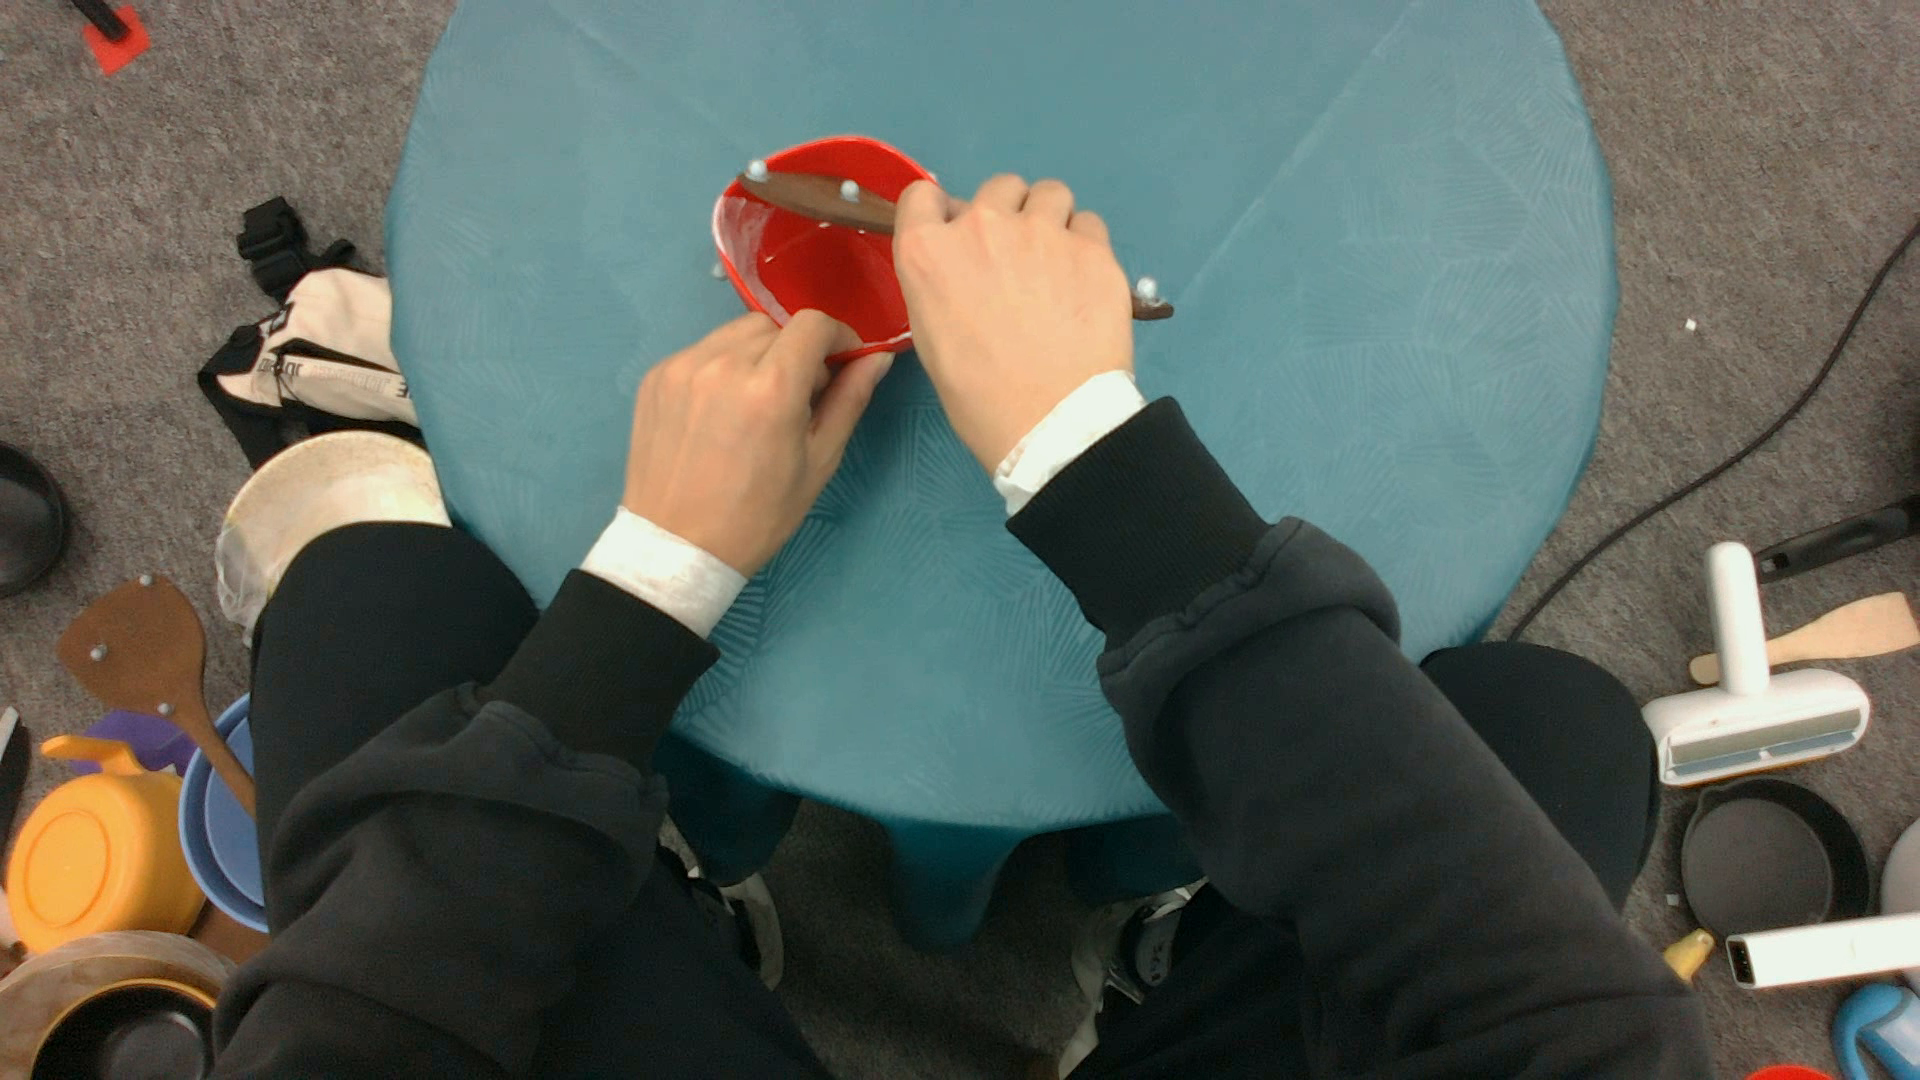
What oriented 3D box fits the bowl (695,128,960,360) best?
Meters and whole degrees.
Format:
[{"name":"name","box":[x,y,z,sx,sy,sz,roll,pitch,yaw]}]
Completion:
[{"name":"bowl","box":[-0.063,-0.127,0.633,0.119,0.051,0.119,6,63,-11]}]

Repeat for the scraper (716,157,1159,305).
[{"name":"scraper","box":[-0.010,-0.129,0.569,0.211,0.076,0.011,26,116,32]}]
